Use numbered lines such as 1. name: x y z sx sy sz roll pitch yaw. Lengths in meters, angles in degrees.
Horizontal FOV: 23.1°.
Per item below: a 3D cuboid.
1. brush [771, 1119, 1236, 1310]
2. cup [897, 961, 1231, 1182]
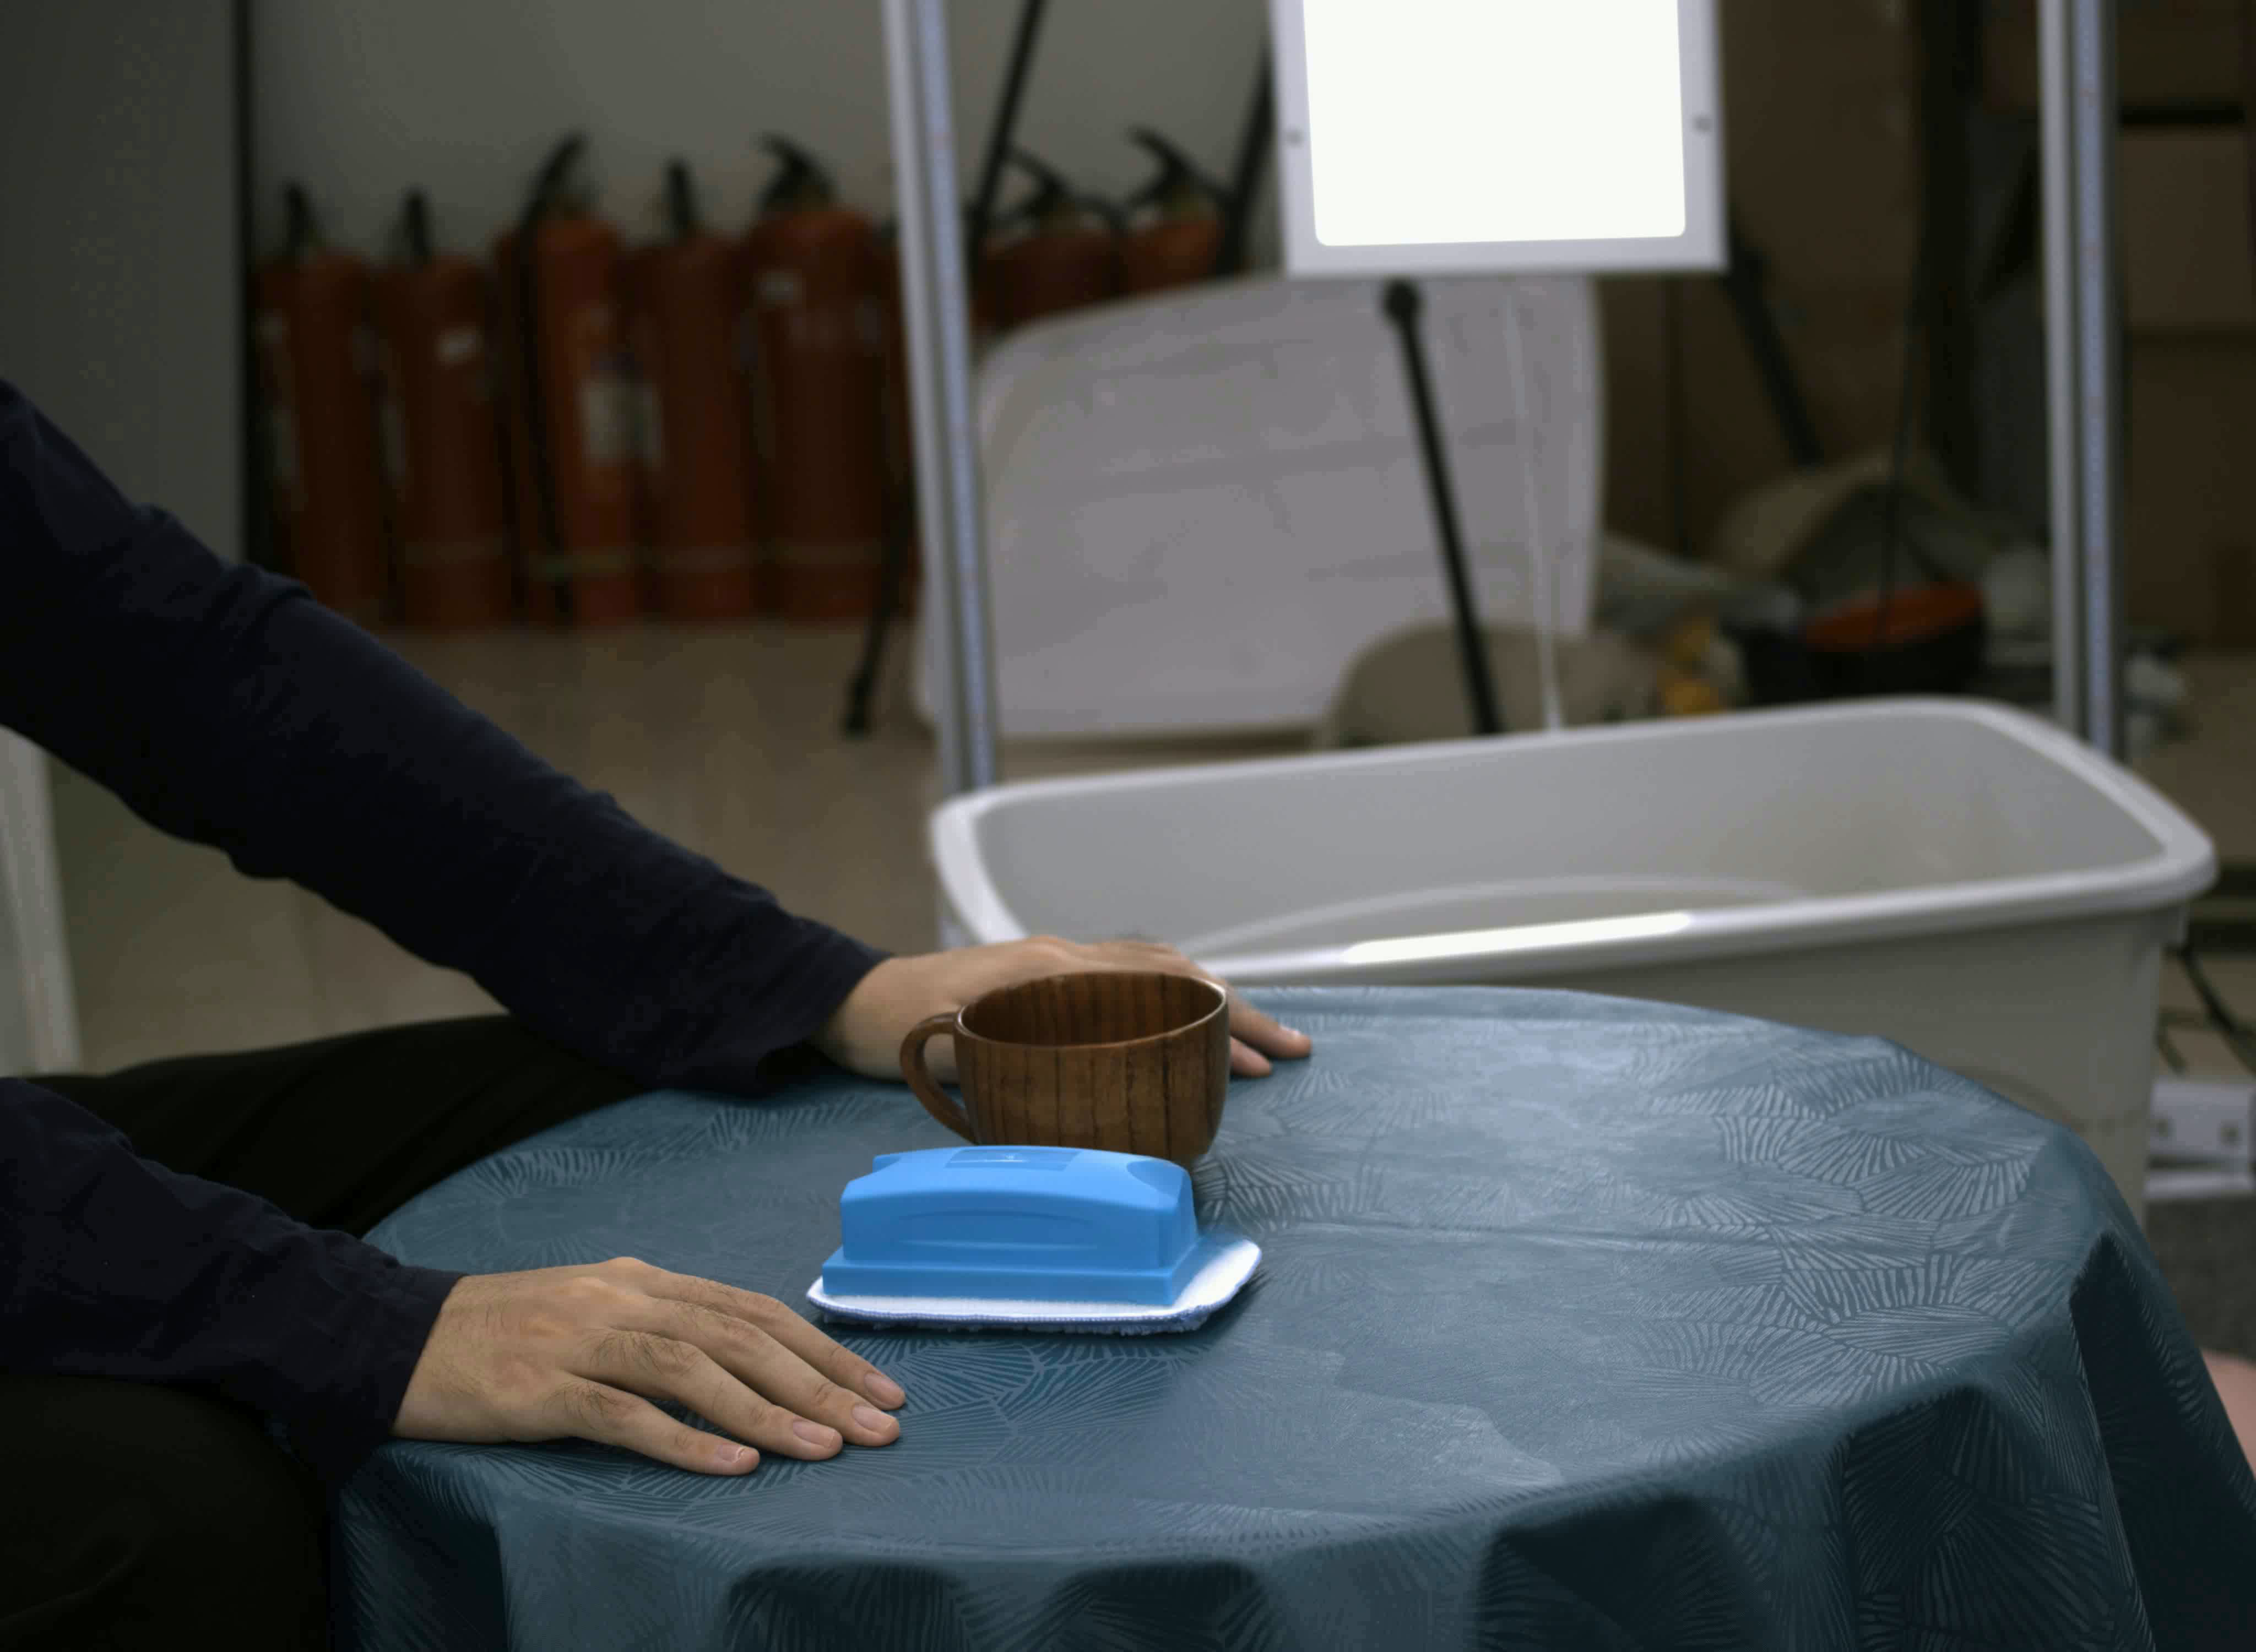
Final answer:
1. brush: -0.040 0.126 1.788 0.146 0.056 0.082 3 12 21
2. cup: -0.021 0.093 1.909 0.121 0.068 0.094 -3 17 19
